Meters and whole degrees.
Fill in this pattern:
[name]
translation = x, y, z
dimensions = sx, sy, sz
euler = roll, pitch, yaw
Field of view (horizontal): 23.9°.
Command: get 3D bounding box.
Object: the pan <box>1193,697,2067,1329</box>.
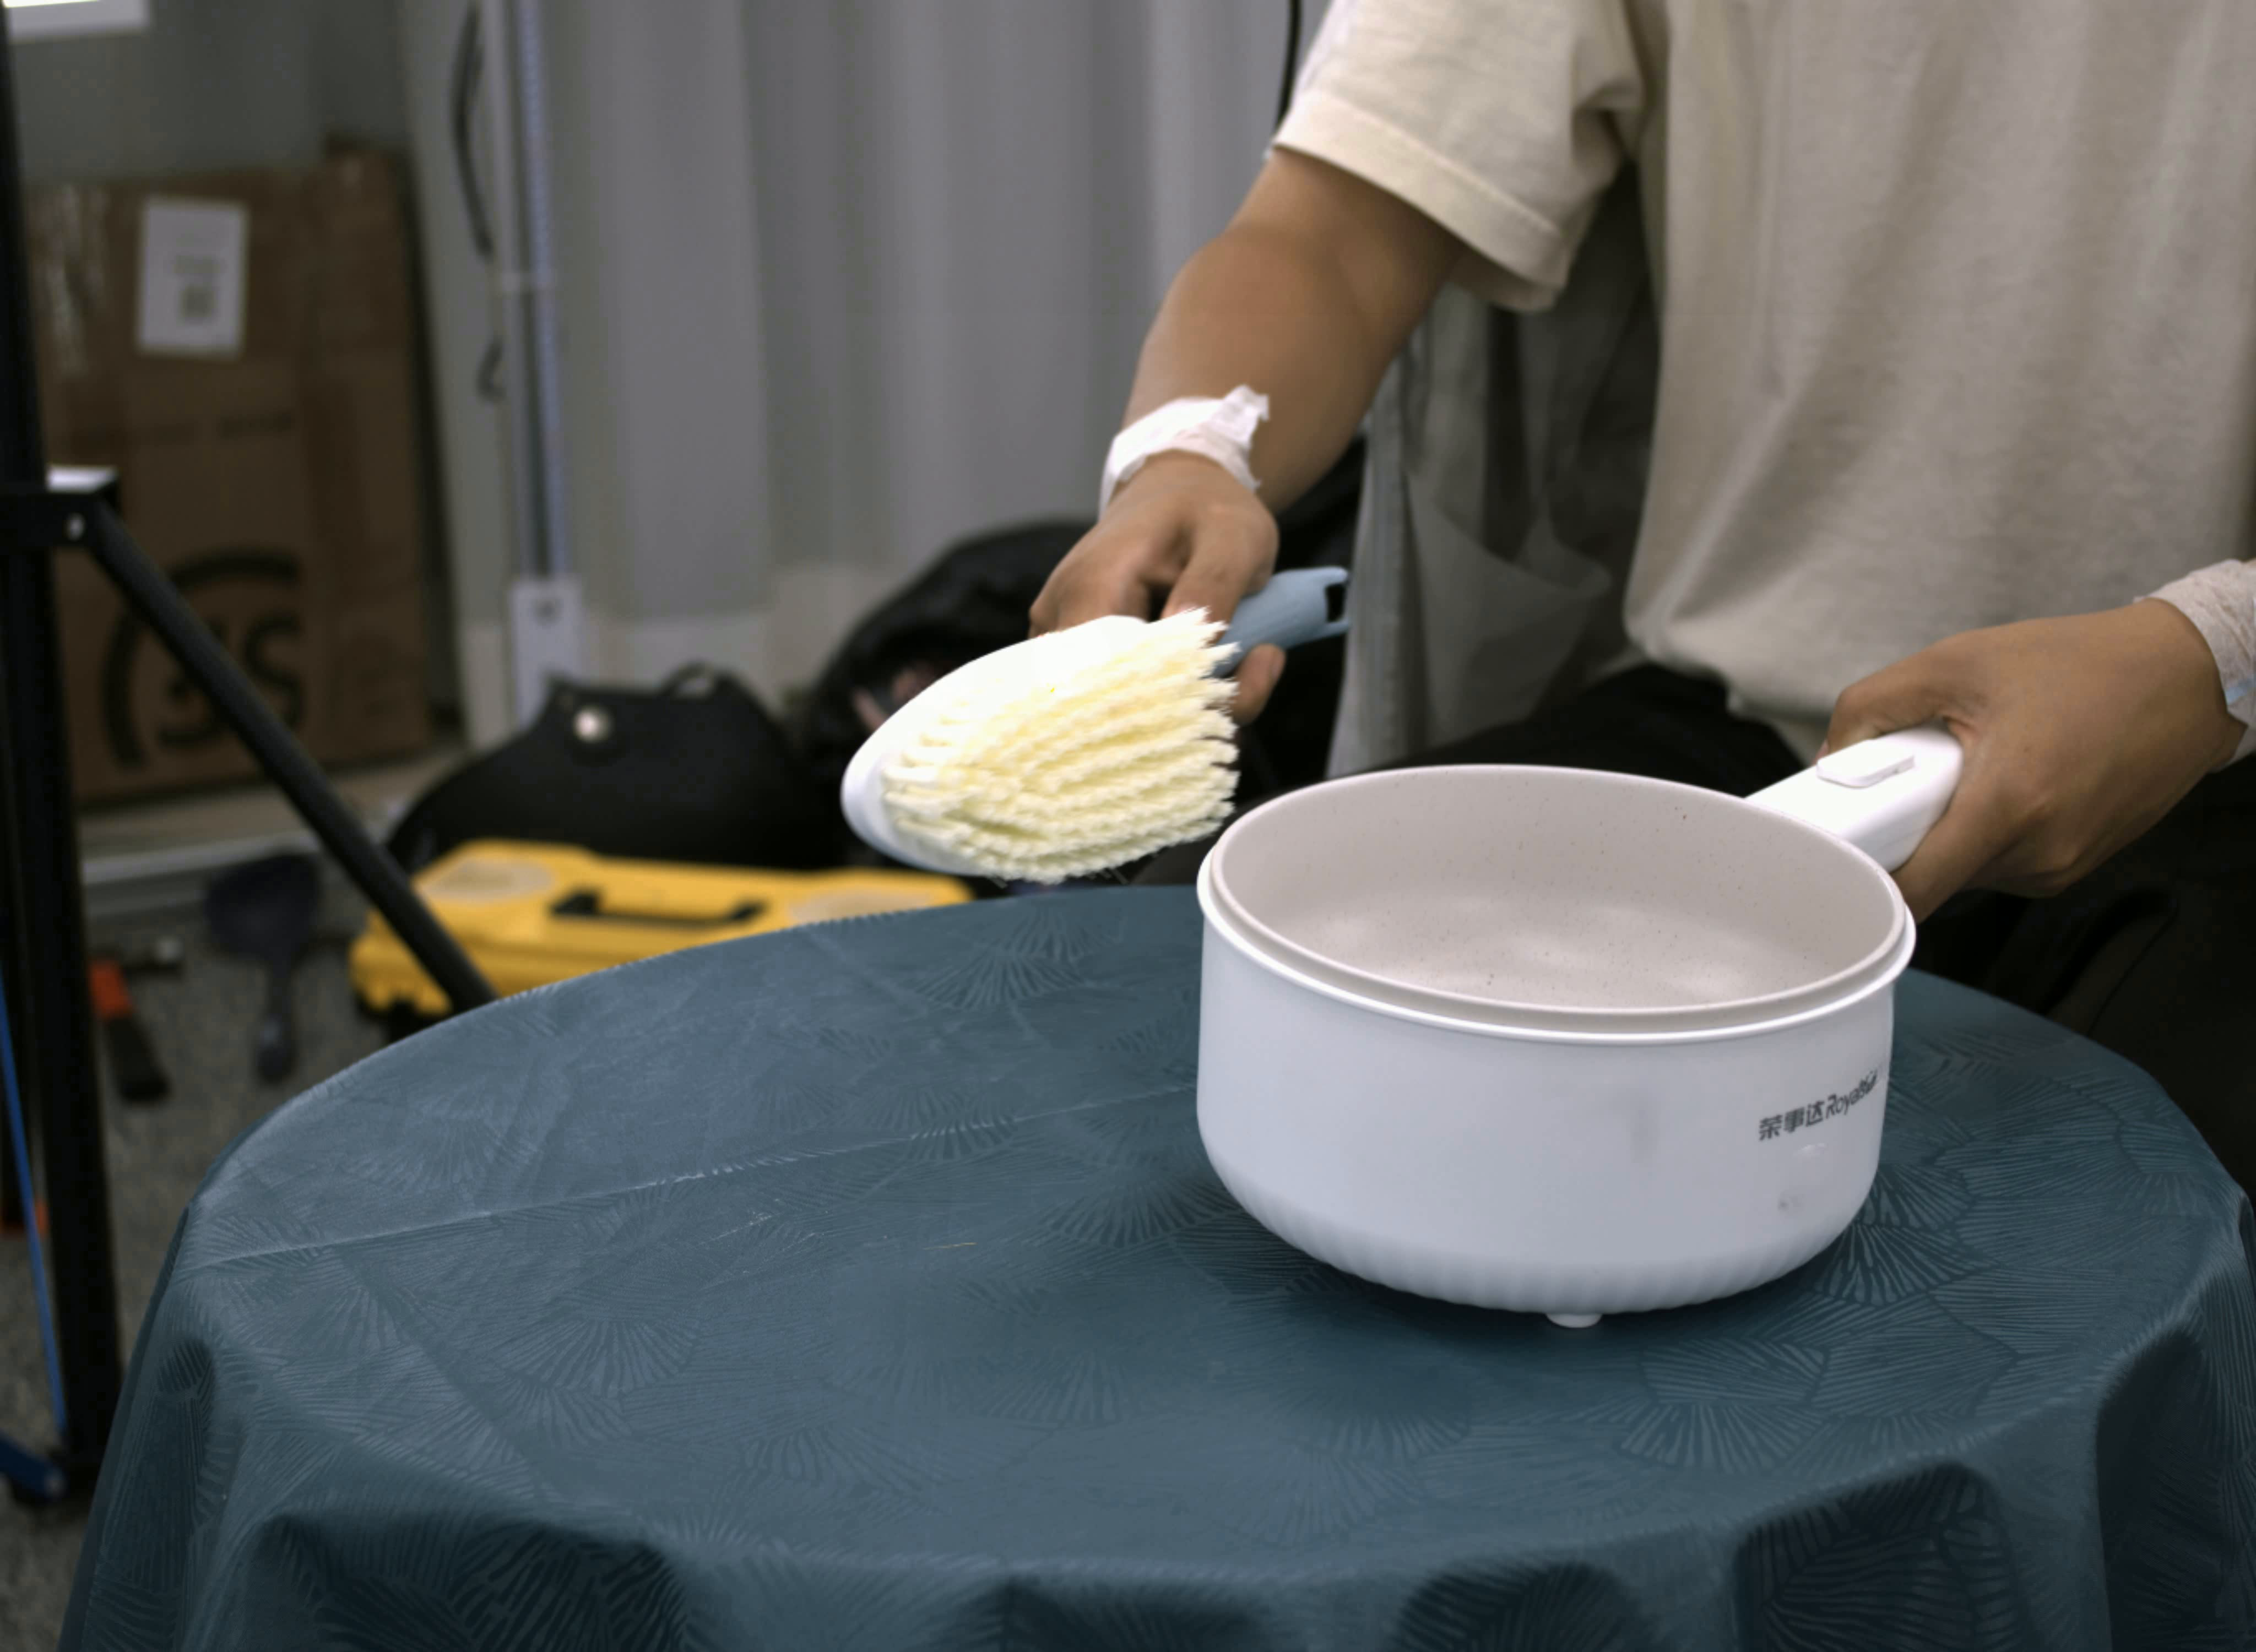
[pan]
translation = 0.164, 0.046, 1.546
dimensions = 0.205, 0.102, 0.347
euler = 17, 23, 37

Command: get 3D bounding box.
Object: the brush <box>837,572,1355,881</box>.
[brush]
translation = 0.023, -0.044, 1.631
dimensions = 0.085, 0.083, 0.319
euler = 40, 27, 15
